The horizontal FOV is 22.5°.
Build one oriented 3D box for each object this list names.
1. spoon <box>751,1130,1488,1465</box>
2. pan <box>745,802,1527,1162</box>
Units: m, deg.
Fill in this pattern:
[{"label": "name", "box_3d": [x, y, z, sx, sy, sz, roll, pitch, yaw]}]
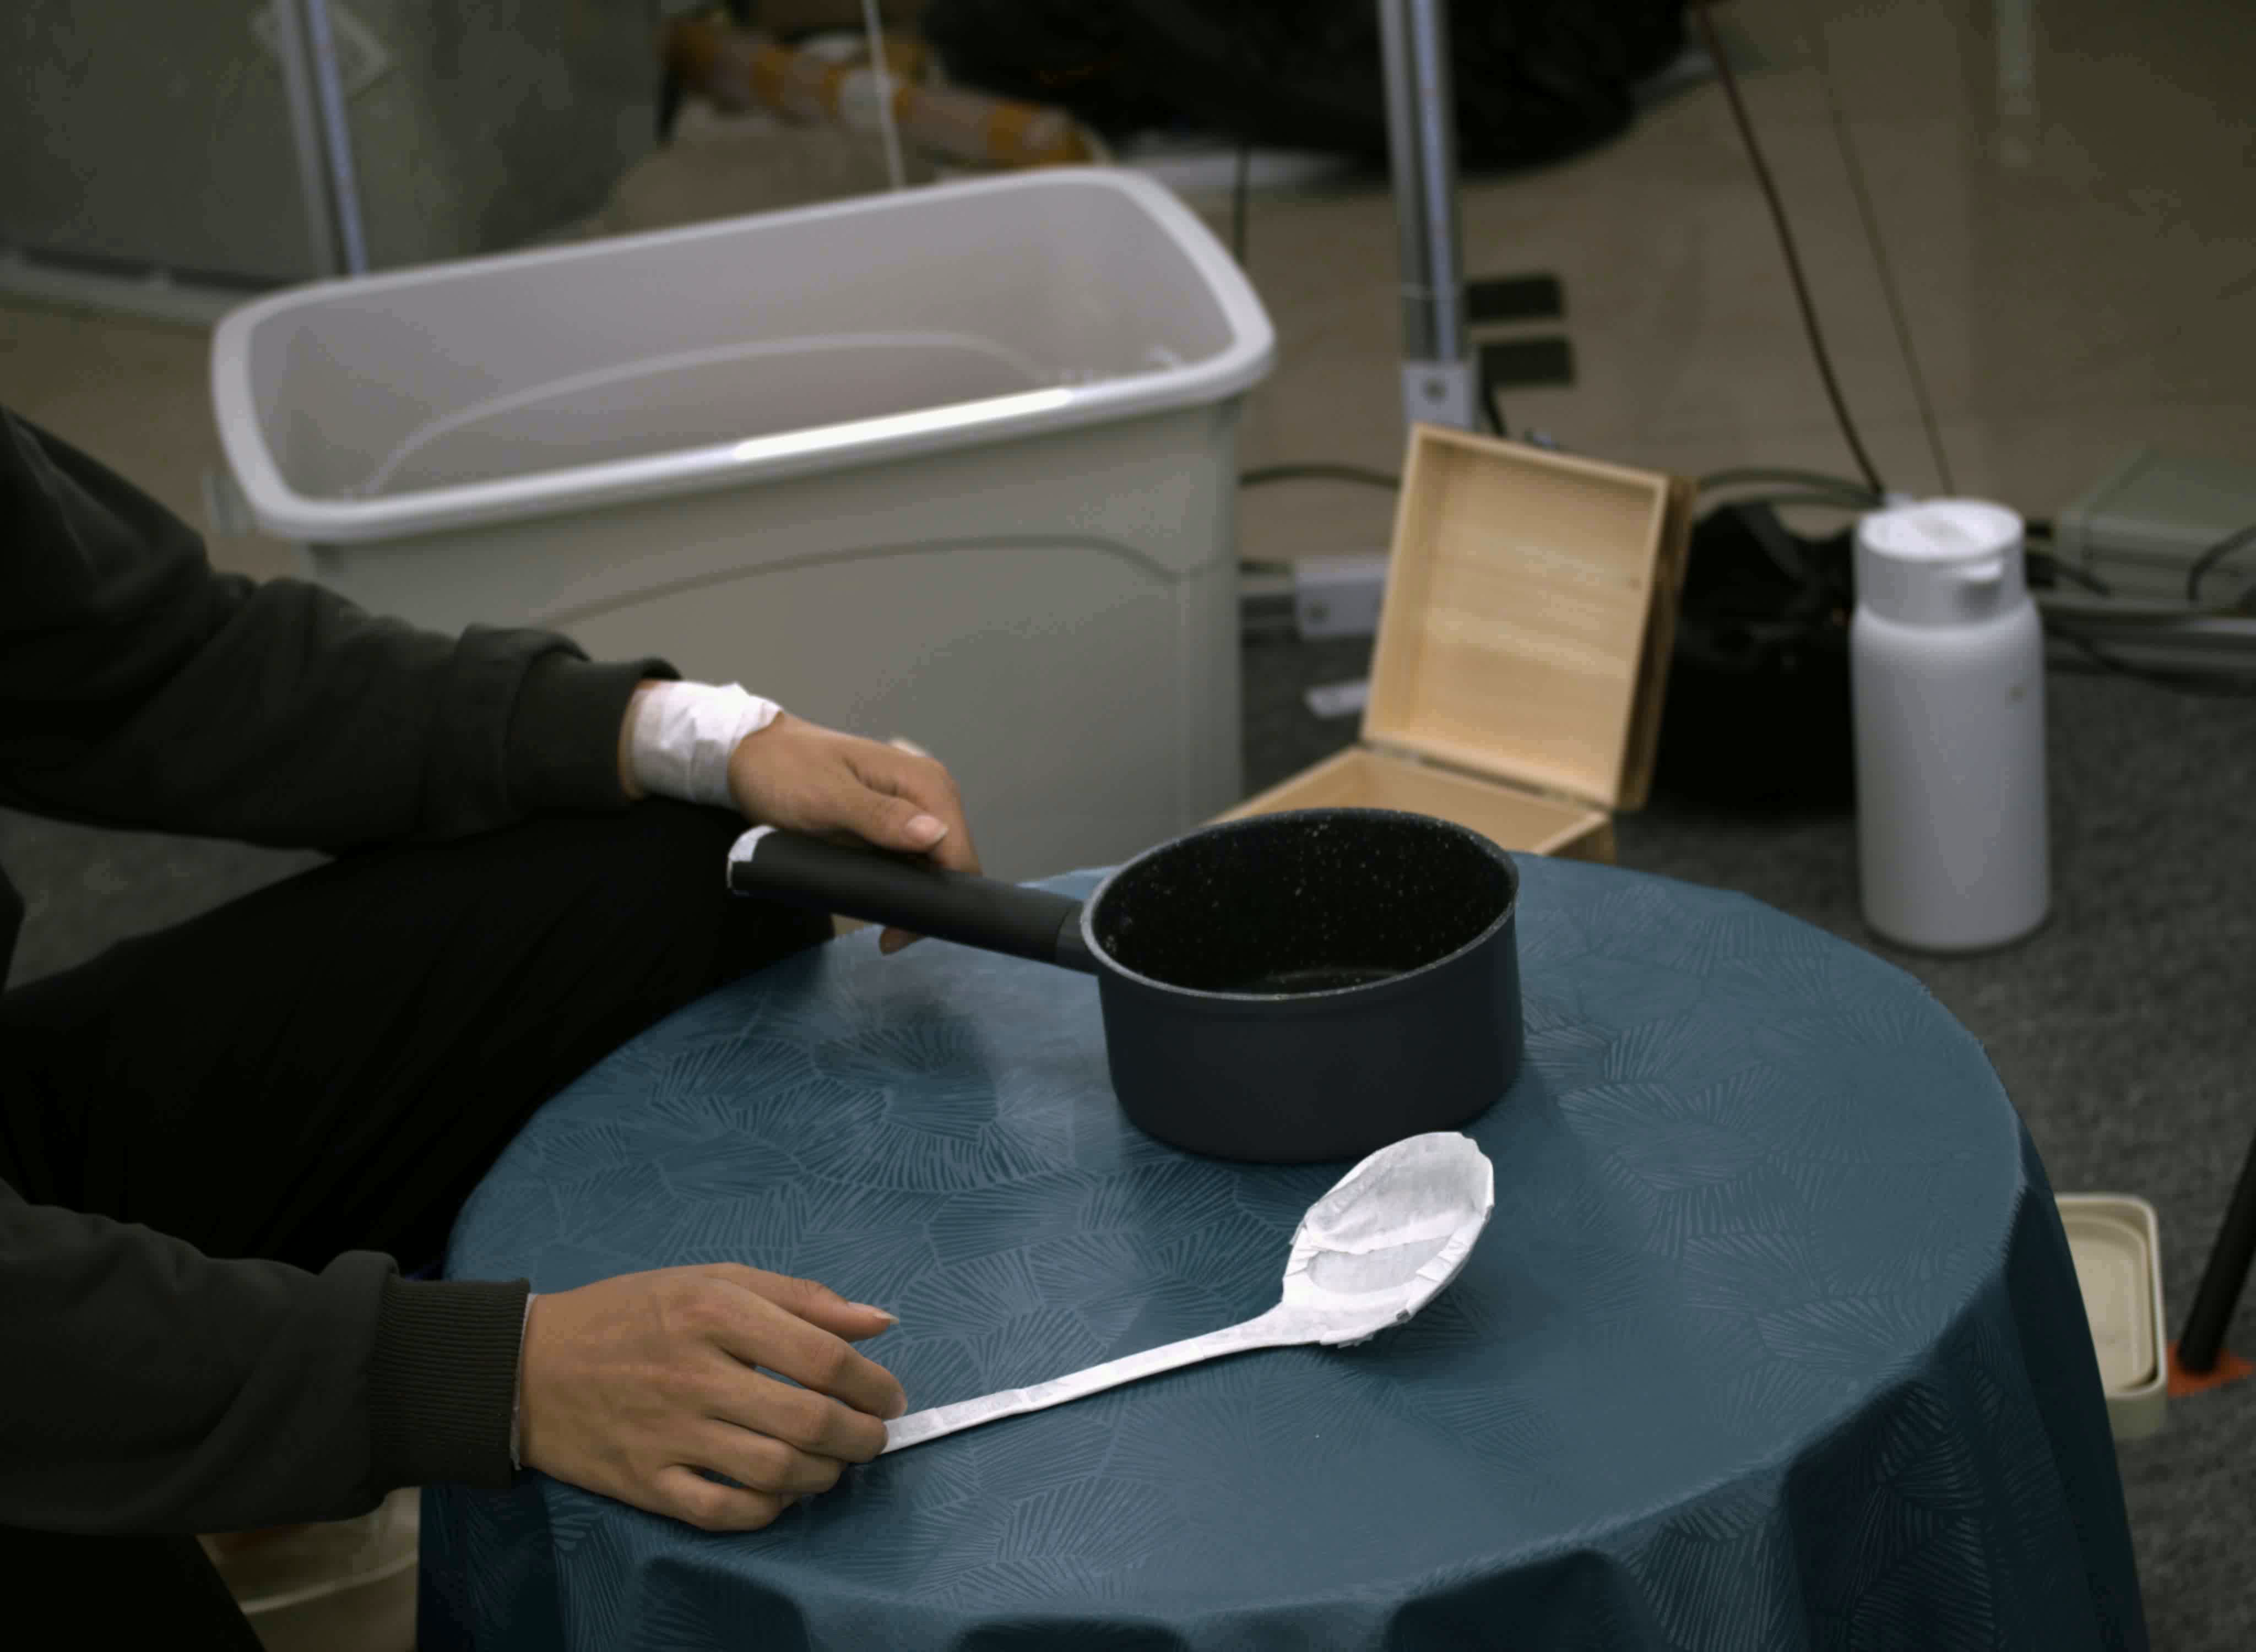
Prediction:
[{"label": "spoon", "box_3d": [-0.004, 0.167, 2.022, 0.276, 0.060, 0.099, -12, 24, -12]}, {"label": "pan", "box_3d": [0.000, 0.052, 2.238, 0.327, 0.088, 0.170, 6, 27, 24]}]
